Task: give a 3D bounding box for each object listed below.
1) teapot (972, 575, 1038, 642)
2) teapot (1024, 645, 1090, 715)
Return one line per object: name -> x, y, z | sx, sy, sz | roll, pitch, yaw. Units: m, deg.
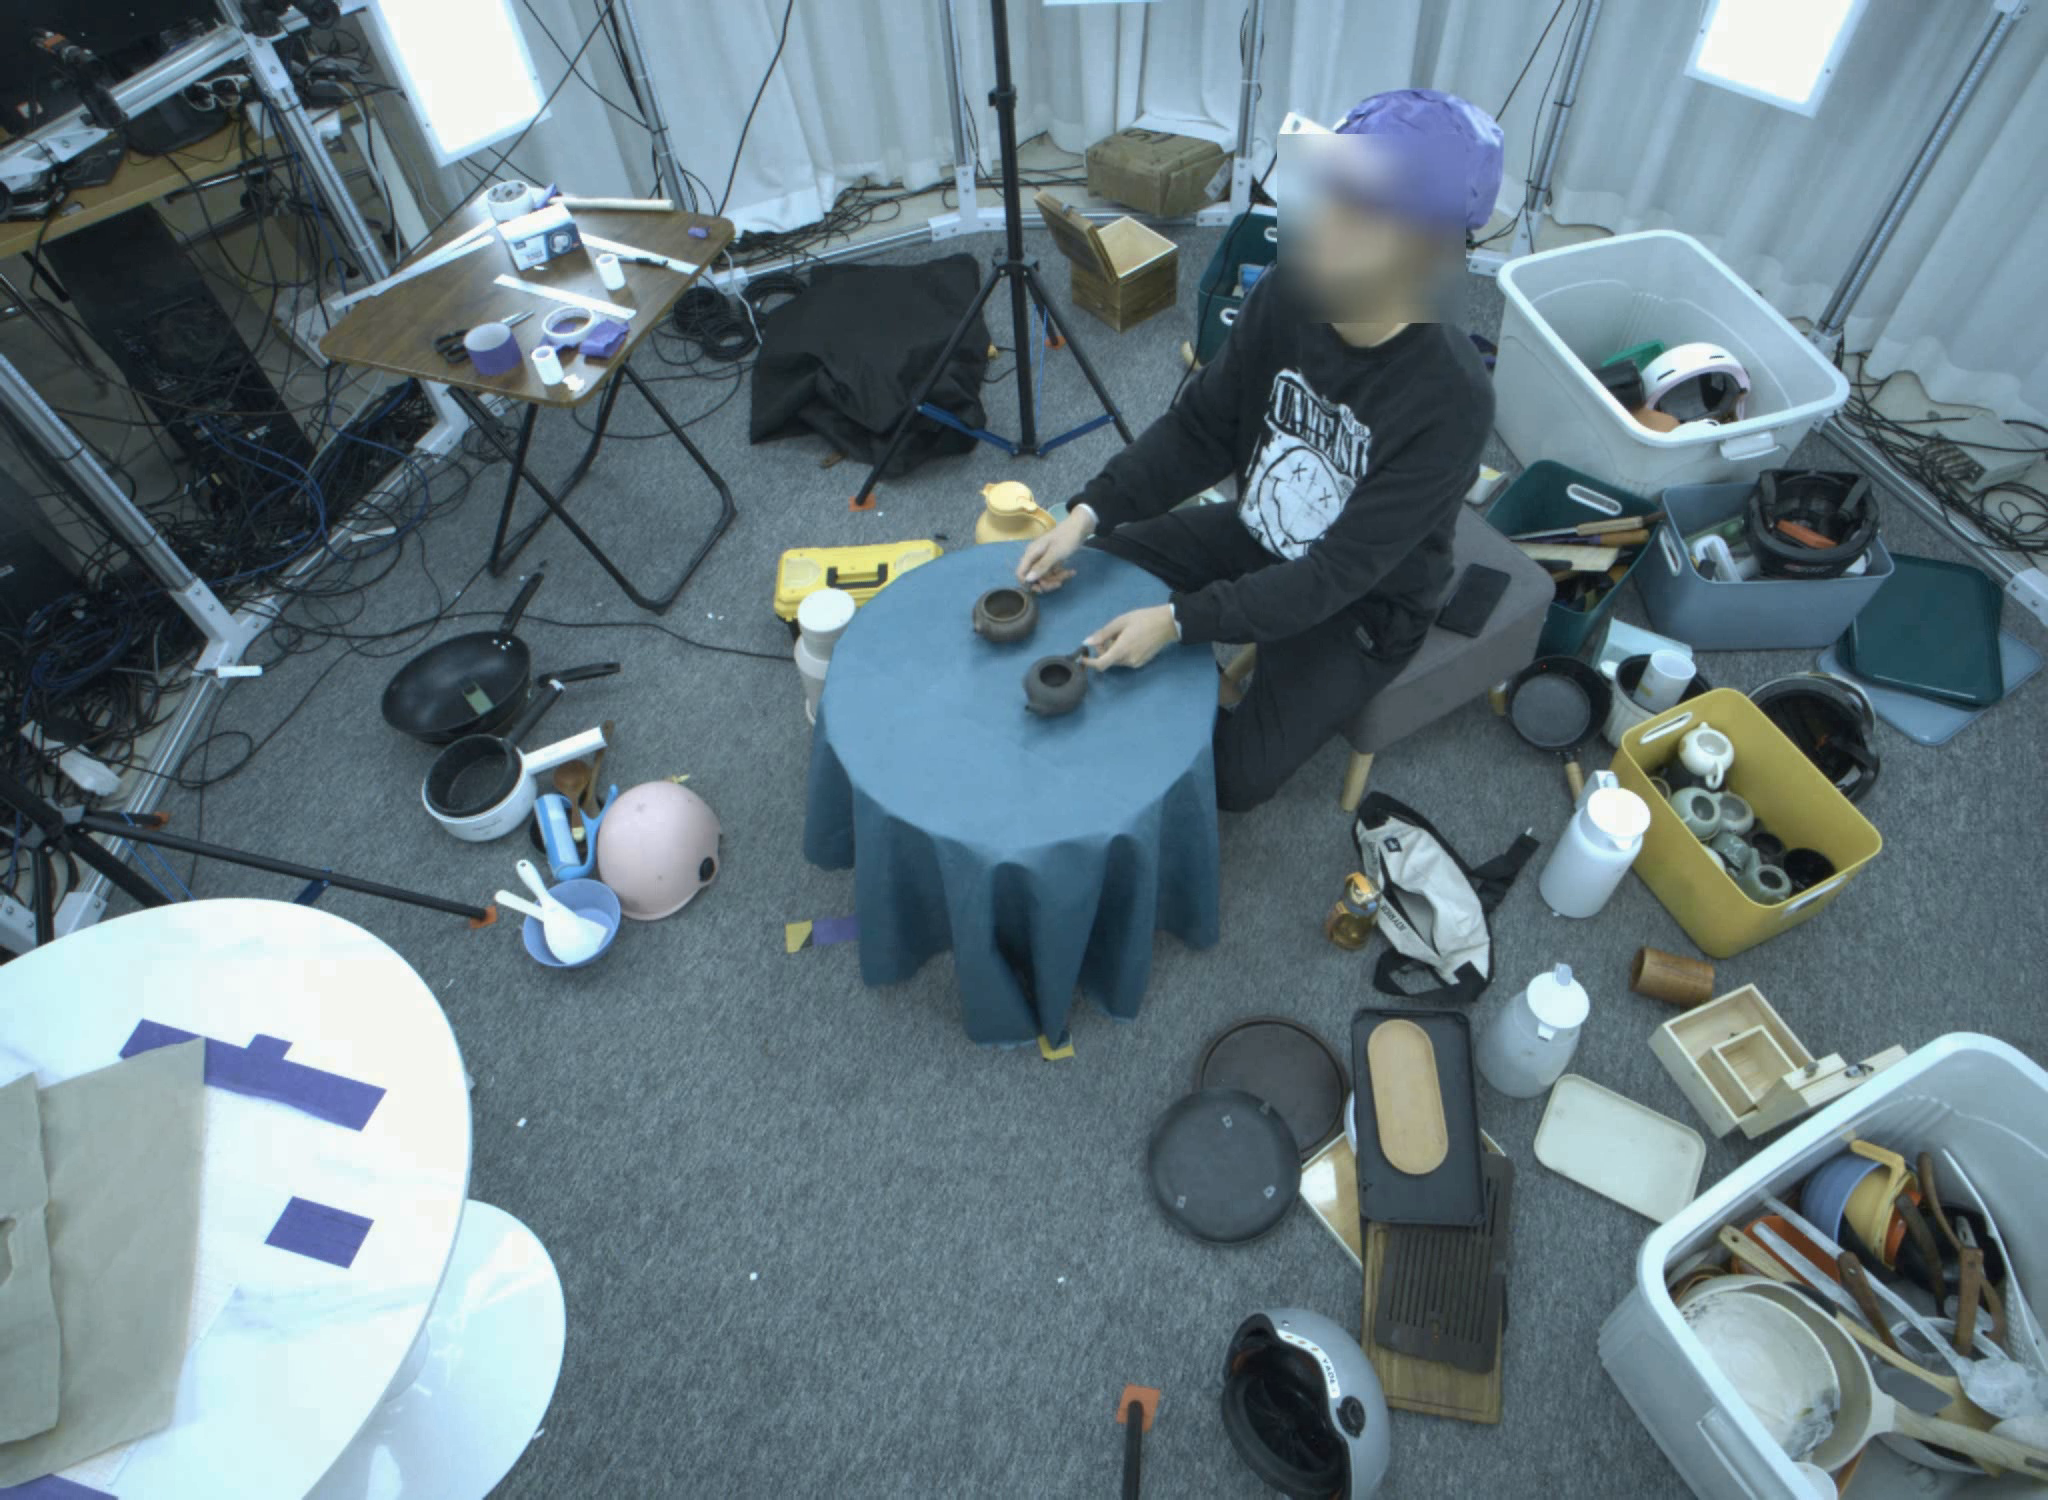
teapot -> -0.028, -0.217, 1.905 | 0.101, 0.054, 0.154 | 27, 60, 17
teapot -> 0.048, -0.099, 1.813 | 0.091, 0.065, 0.155 | 32, 62, 21
